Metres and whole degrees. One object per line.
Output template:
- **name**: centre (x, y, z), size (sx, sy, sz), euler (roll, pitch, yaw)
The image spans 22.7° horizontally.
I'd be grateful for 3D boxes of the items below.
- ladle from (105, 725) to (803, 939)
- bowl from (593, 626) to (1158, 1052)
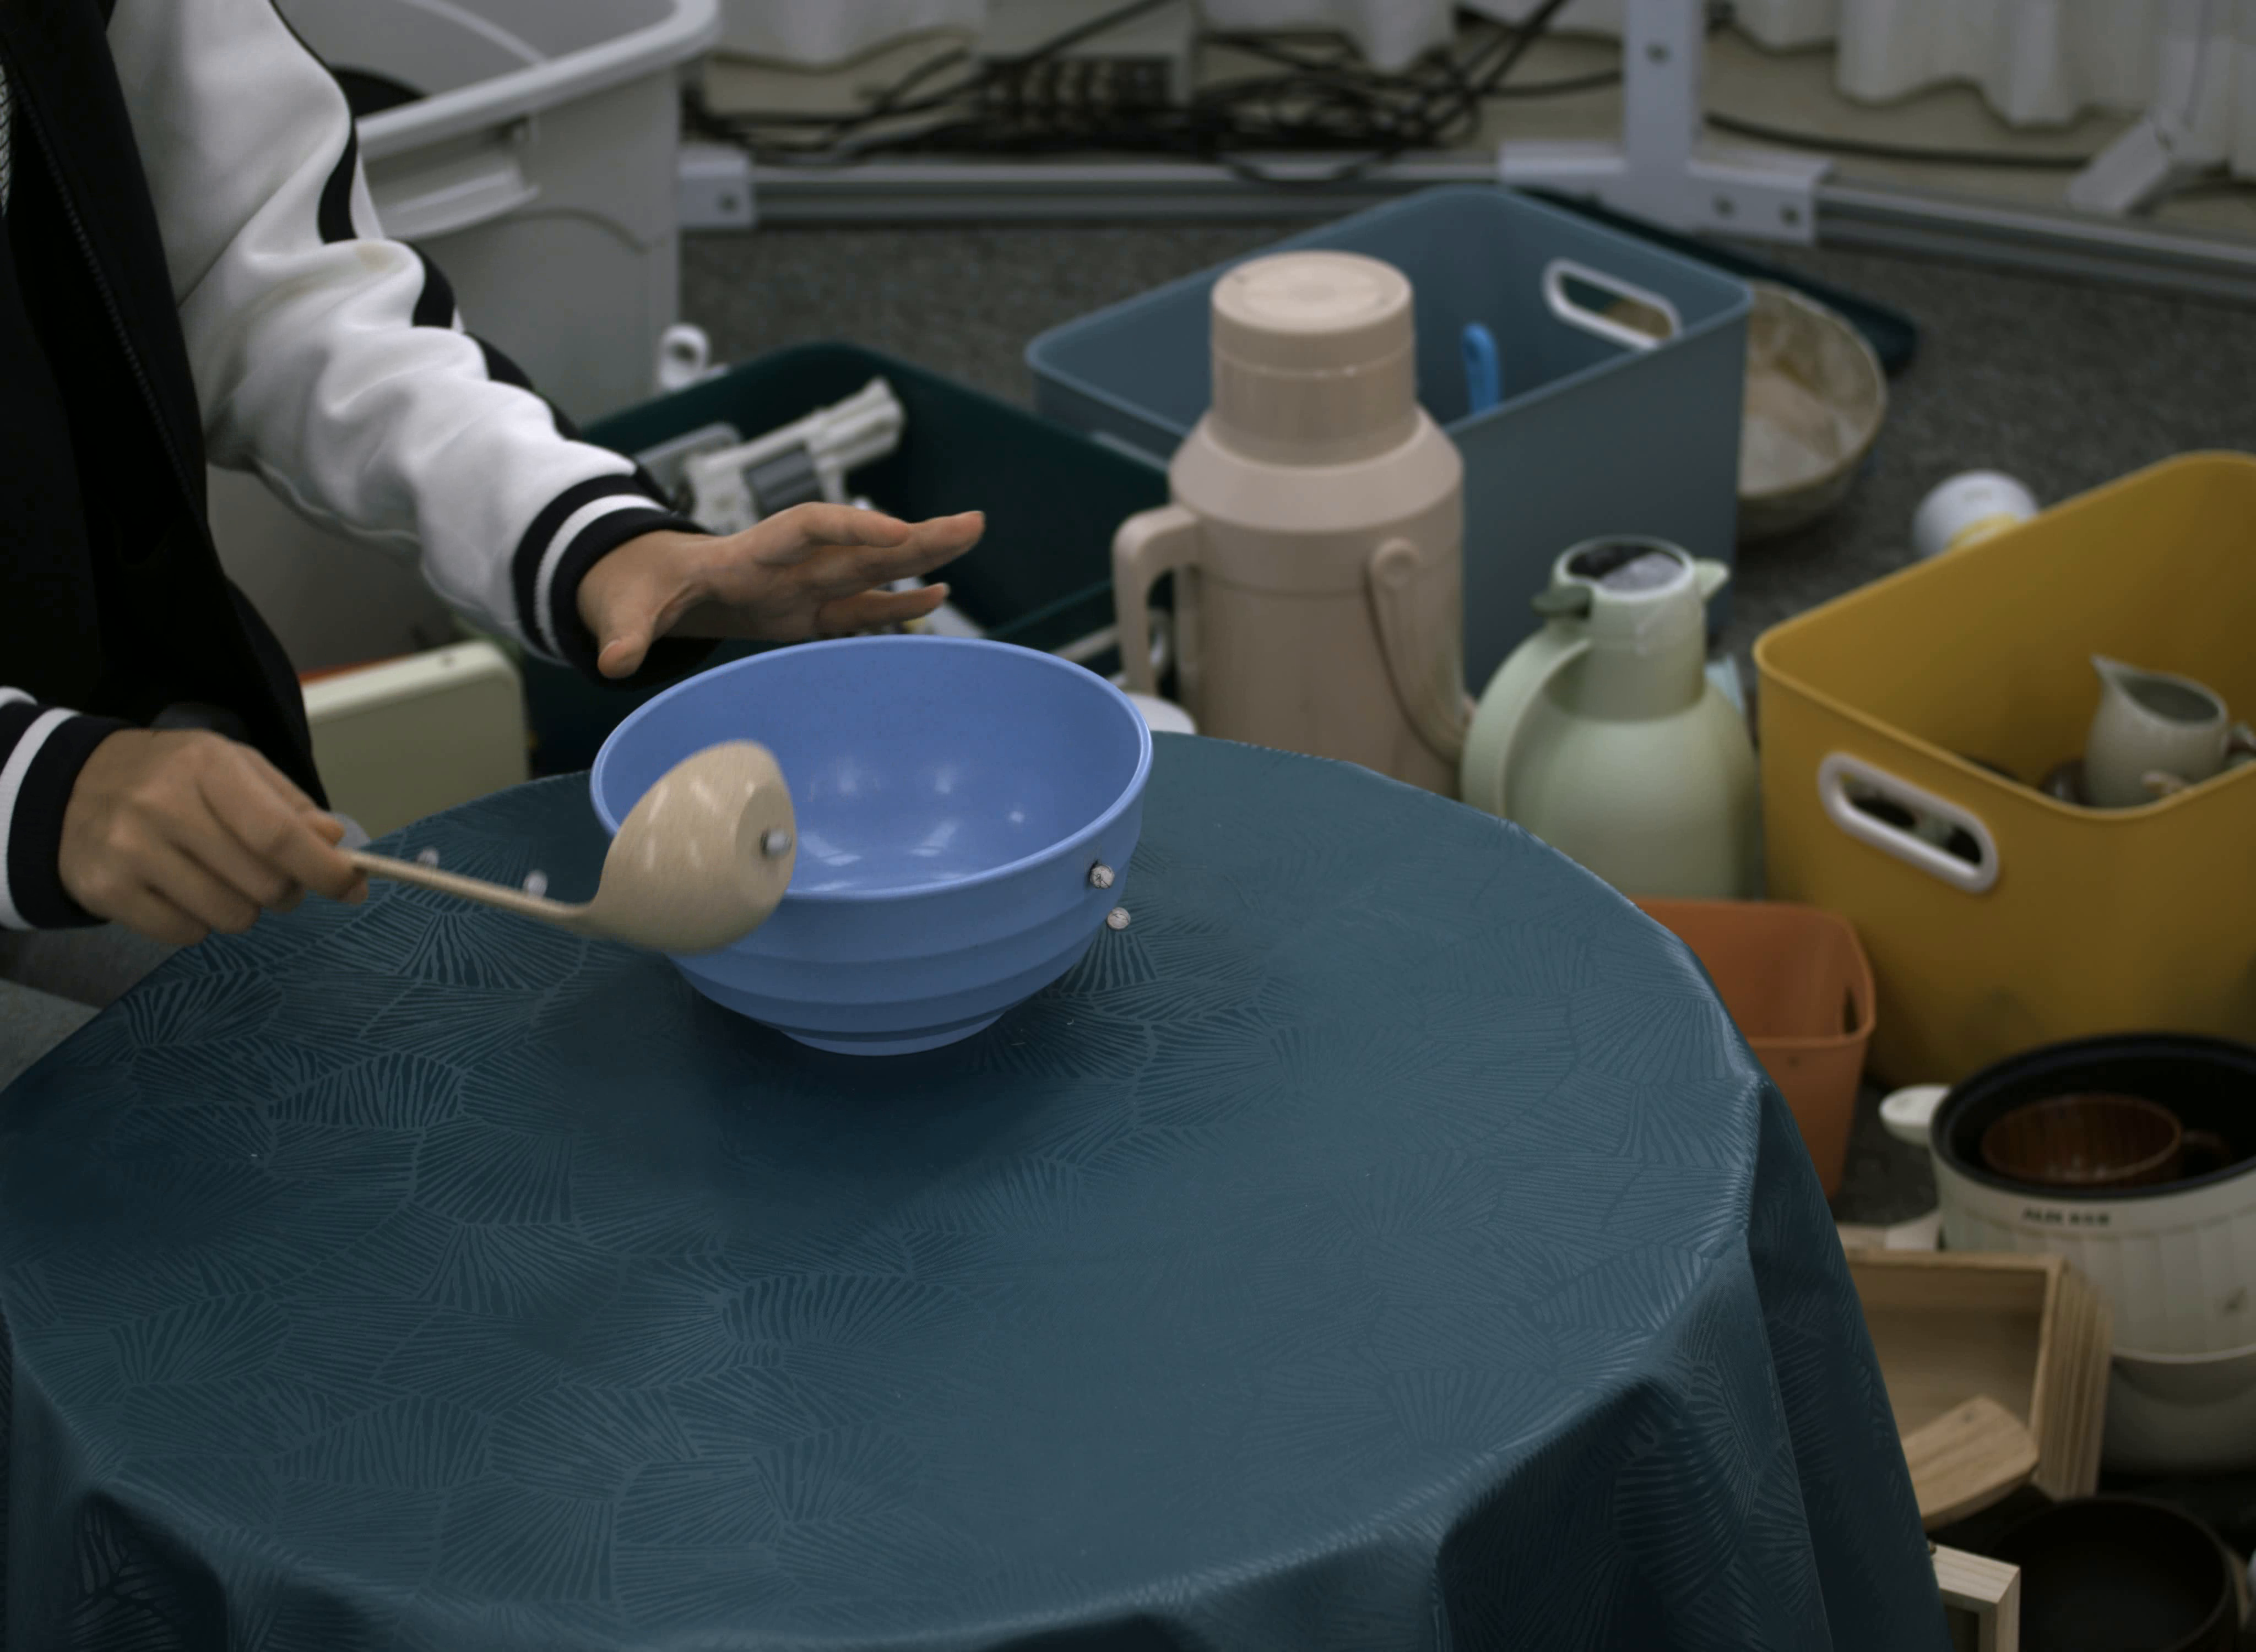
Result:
- **ladle**: centre (-0.225, -0.012, 1.870), size (0.252, 0.071, 0.074), euler (9, 70, 27)
- **bowl**: centre (-0.087, 0.016, 1.969), size (0.195, 0.094, 0.199), euler (0, 28, 0)
